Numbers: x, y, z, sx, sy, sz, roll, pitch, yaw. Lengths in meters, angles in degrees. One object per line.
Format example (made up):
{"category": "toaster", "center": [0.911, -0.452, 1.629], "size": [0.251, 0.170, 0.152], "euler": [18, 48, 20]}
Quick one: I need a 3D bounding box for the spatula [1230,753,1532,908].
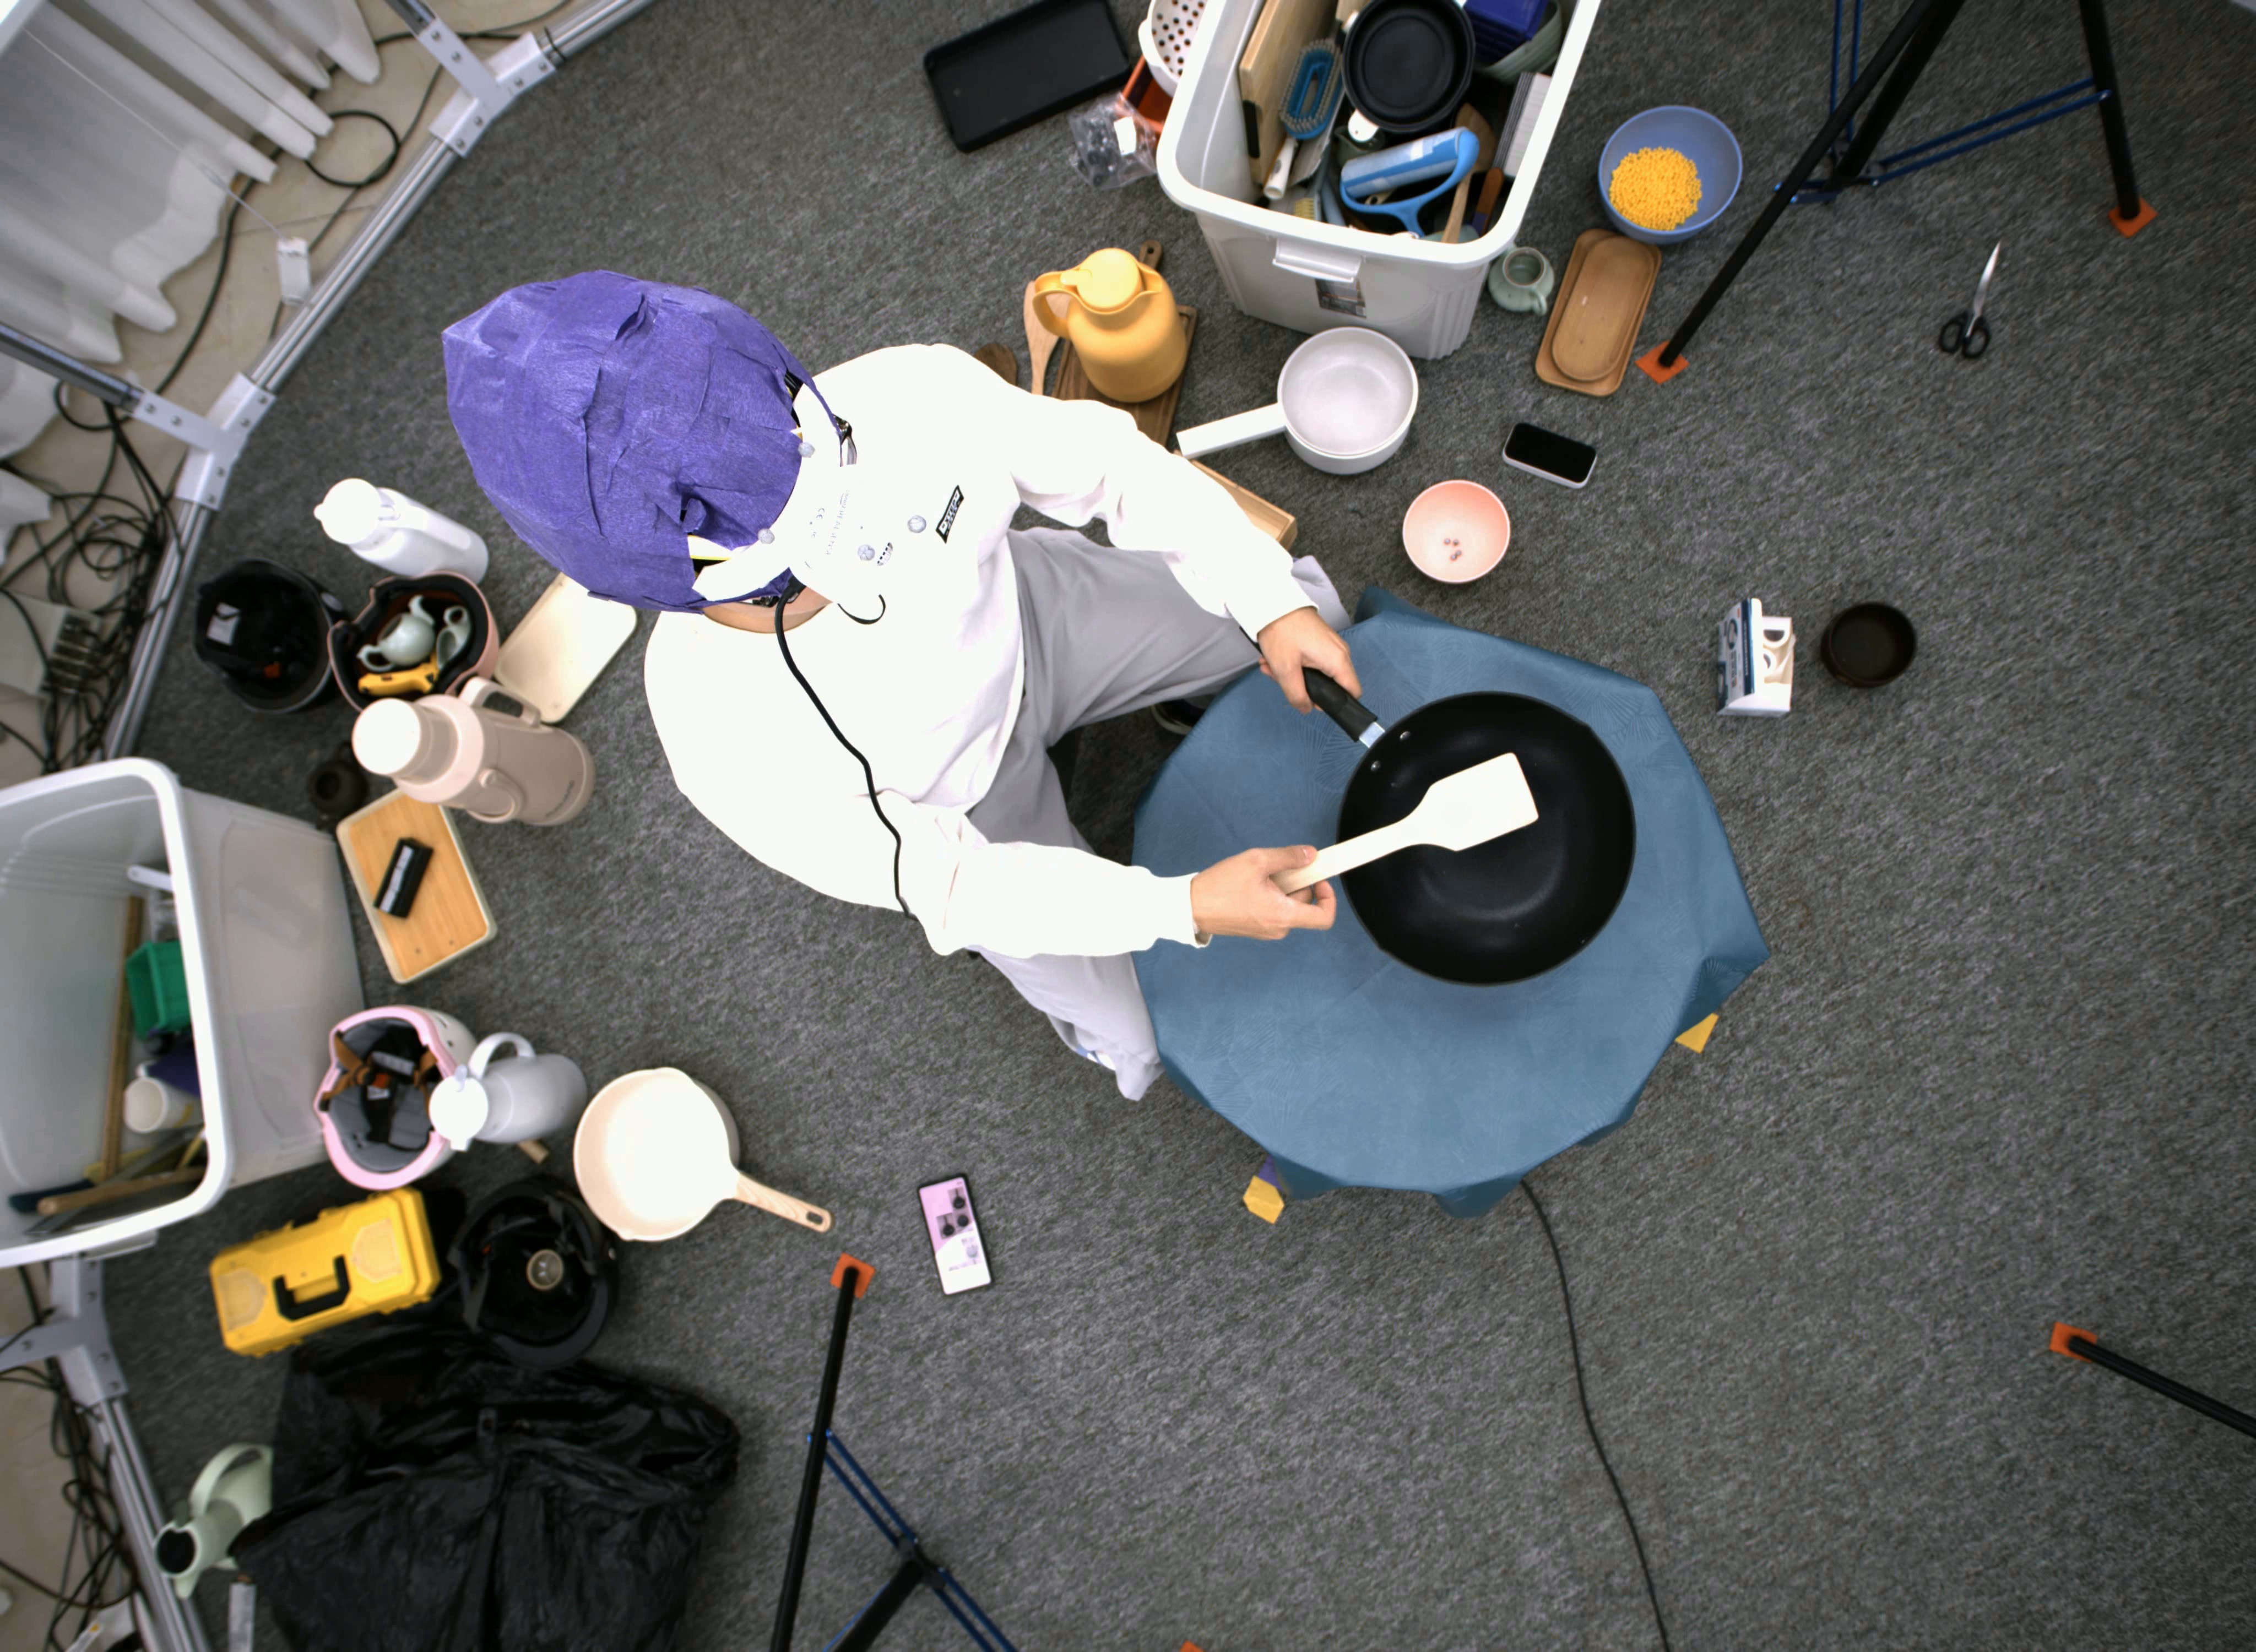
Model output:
{"category": "spatula", "center": [0.234, 0.015, 1.303], "size": [0.294, 0.010, 0.072], "euler": [-22, 93, 5]}

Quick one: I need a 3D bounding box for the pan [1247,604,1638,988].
{"category": "pan", "center": [0.286, -0.050, 1.356], "size": [0.460, 0.086, 0.291], "euler": [46, 105, 16]}
